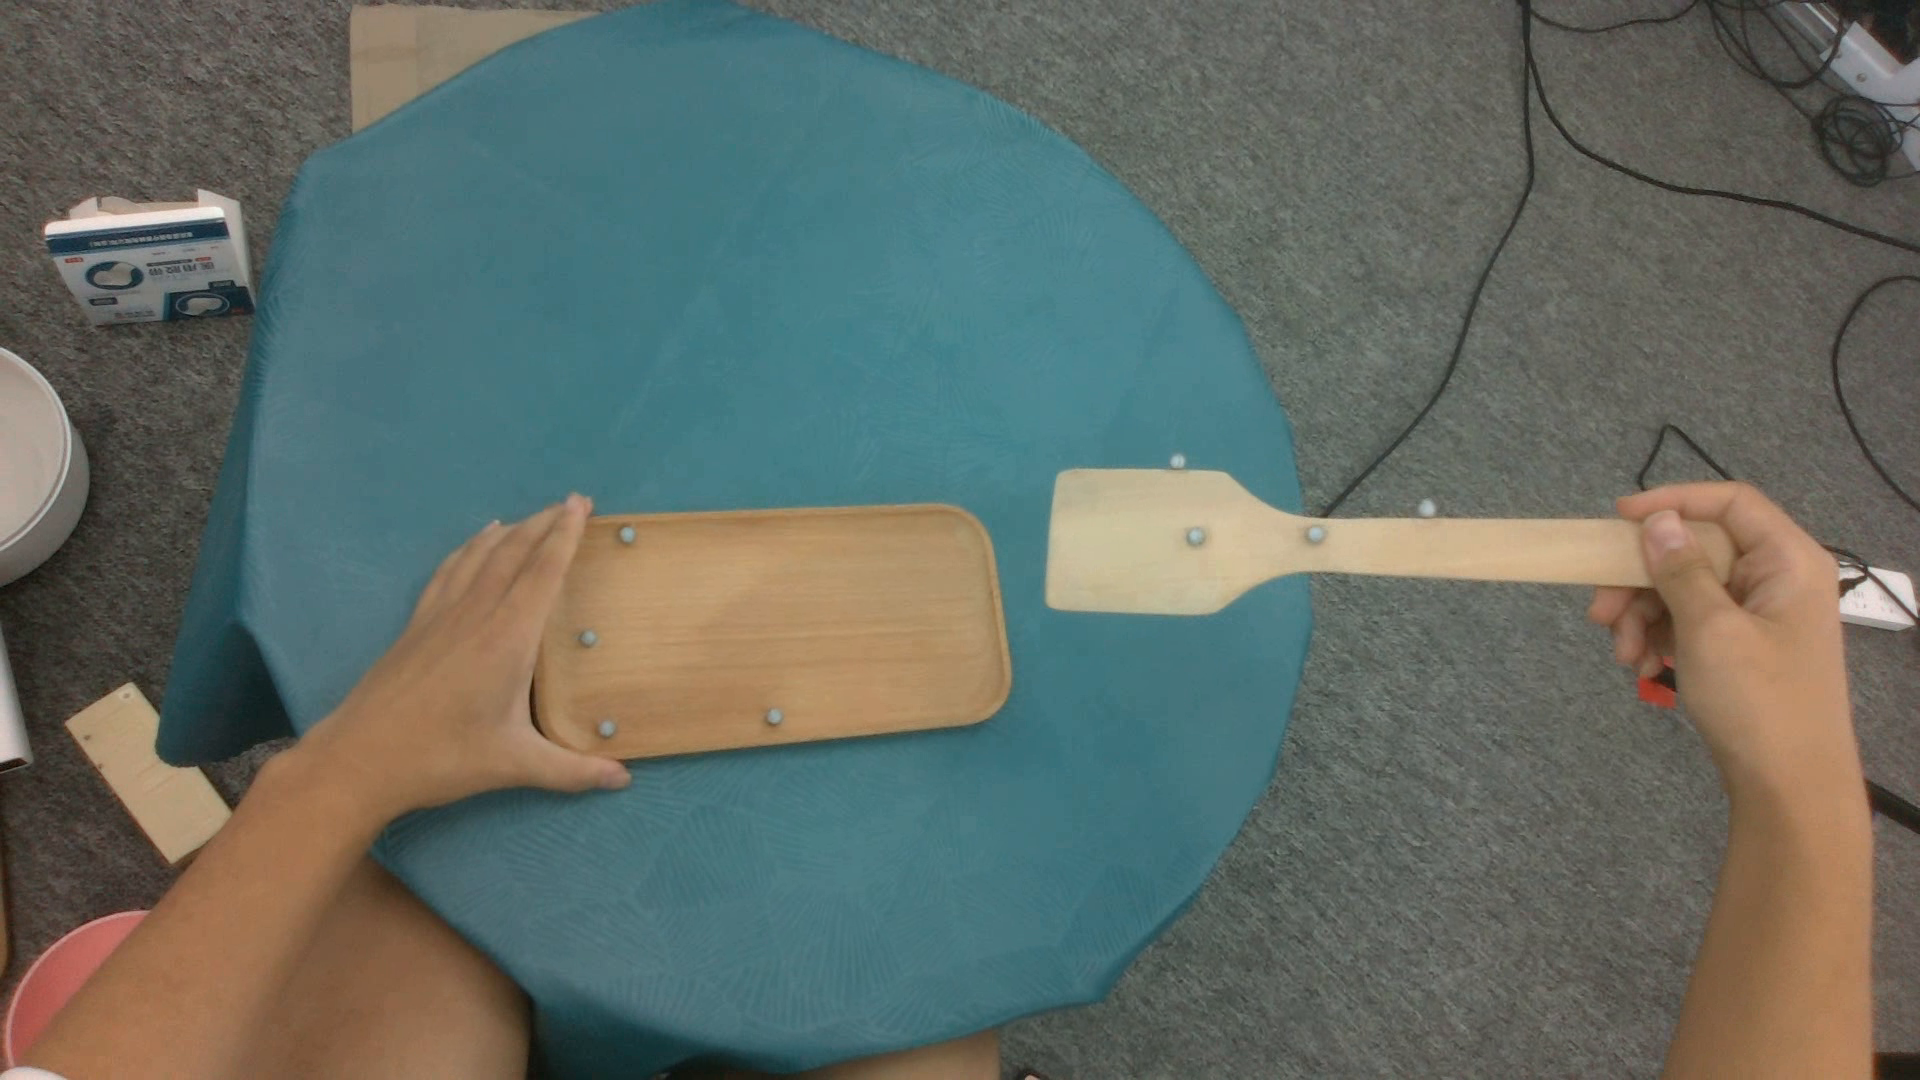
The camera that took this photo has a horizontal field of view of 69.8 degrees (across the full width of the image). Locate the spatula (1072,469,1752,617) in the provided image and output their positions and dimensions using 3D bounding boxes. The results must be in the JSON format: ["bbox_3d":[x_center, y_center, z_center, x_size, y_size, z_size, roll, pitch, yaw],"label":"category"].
[{"bbox_3d":[0.190,0.002,0.622,0.292,0.010,0.072,1,81,25],"label":"spatula"}]

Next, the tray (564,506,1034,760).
[{"bbox_3d":[-0.084,0.047,0.748,0.251,0.023,0.131,-2,74,-19],"label":"tray"}]
